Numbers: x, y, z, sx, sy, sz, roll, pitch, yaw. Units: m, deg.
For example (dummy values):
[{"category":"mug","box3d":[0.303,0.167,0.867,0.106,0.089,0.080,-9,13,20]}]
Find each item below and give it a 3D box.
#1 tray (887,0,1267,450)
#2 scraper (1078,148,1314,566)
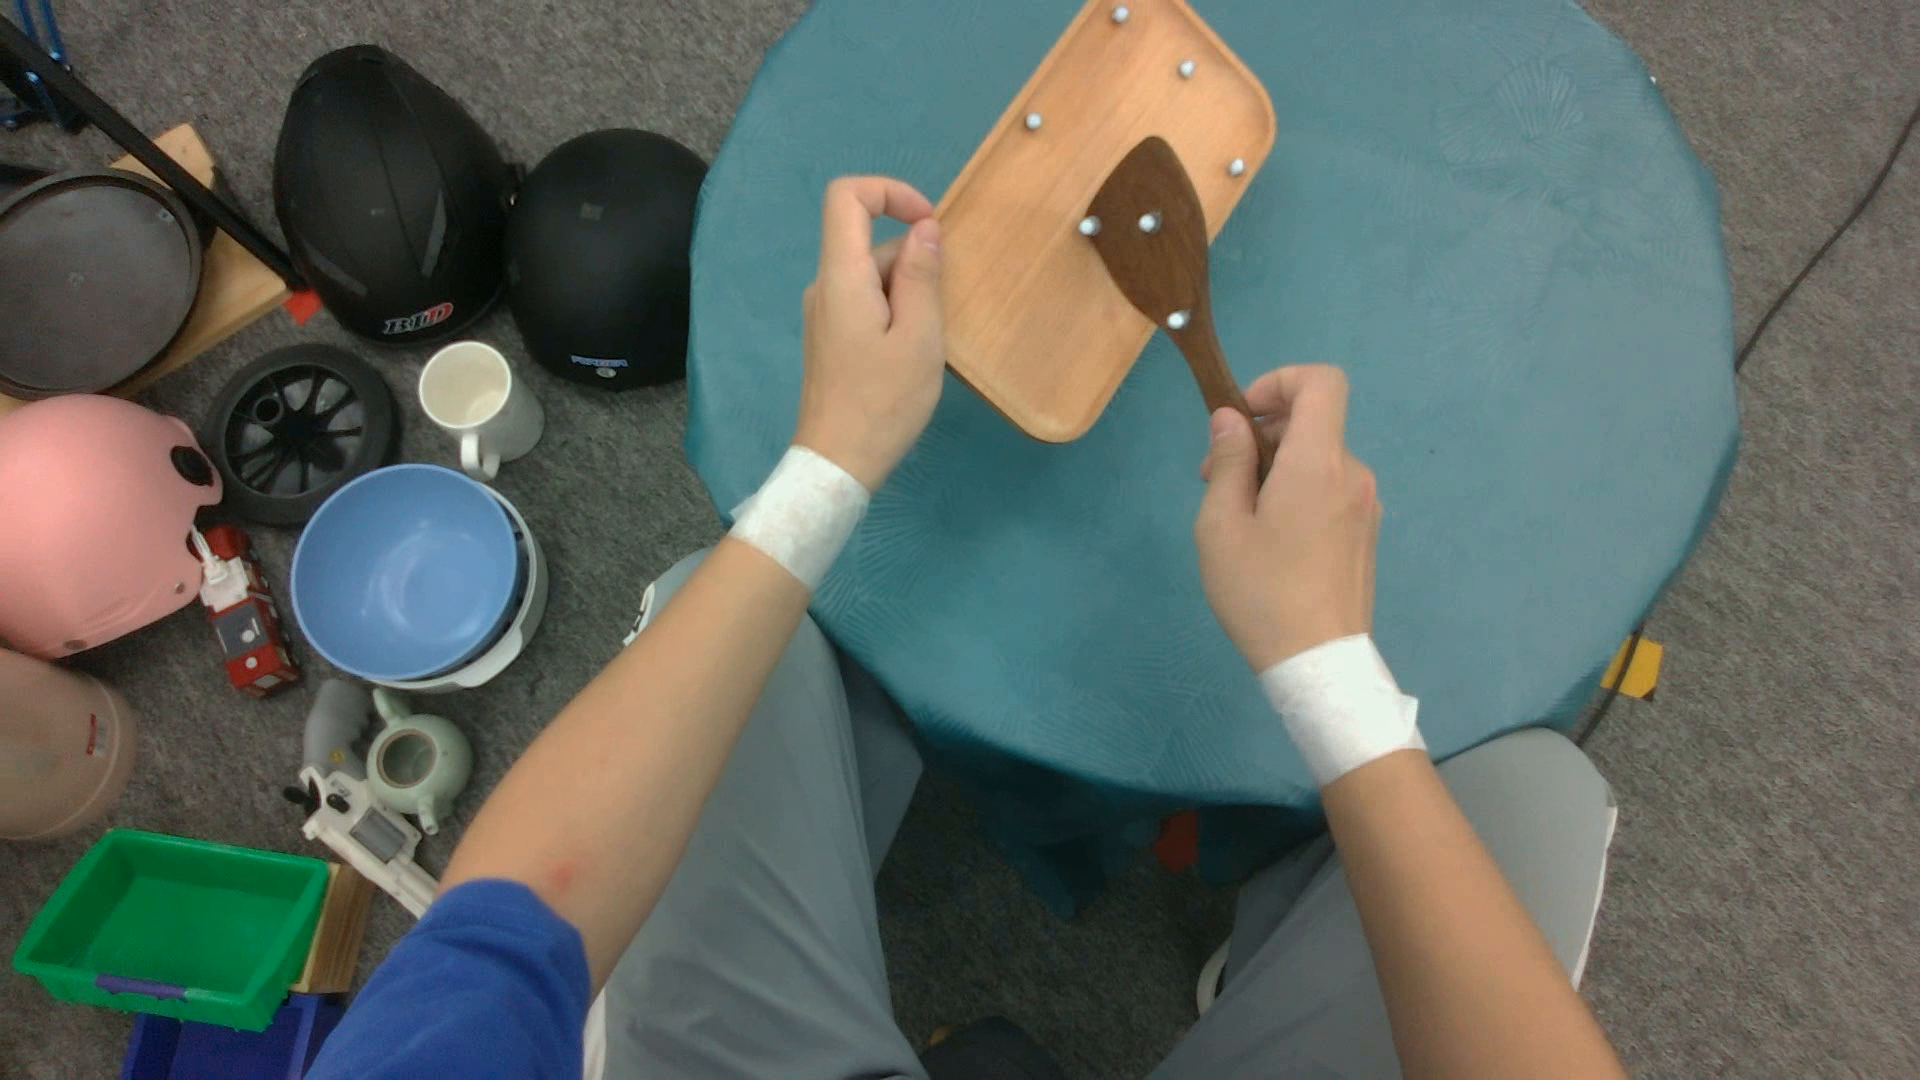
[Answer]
[{"category":"tray","box3d":[0.067,-0.169,0.715,0.130,0.023,0.251,39,69,-13]},{"category":"scraper","box3d":[0.117,-0.085,0.662,0.011,0.075,0.211,-14,74,-33]}]
